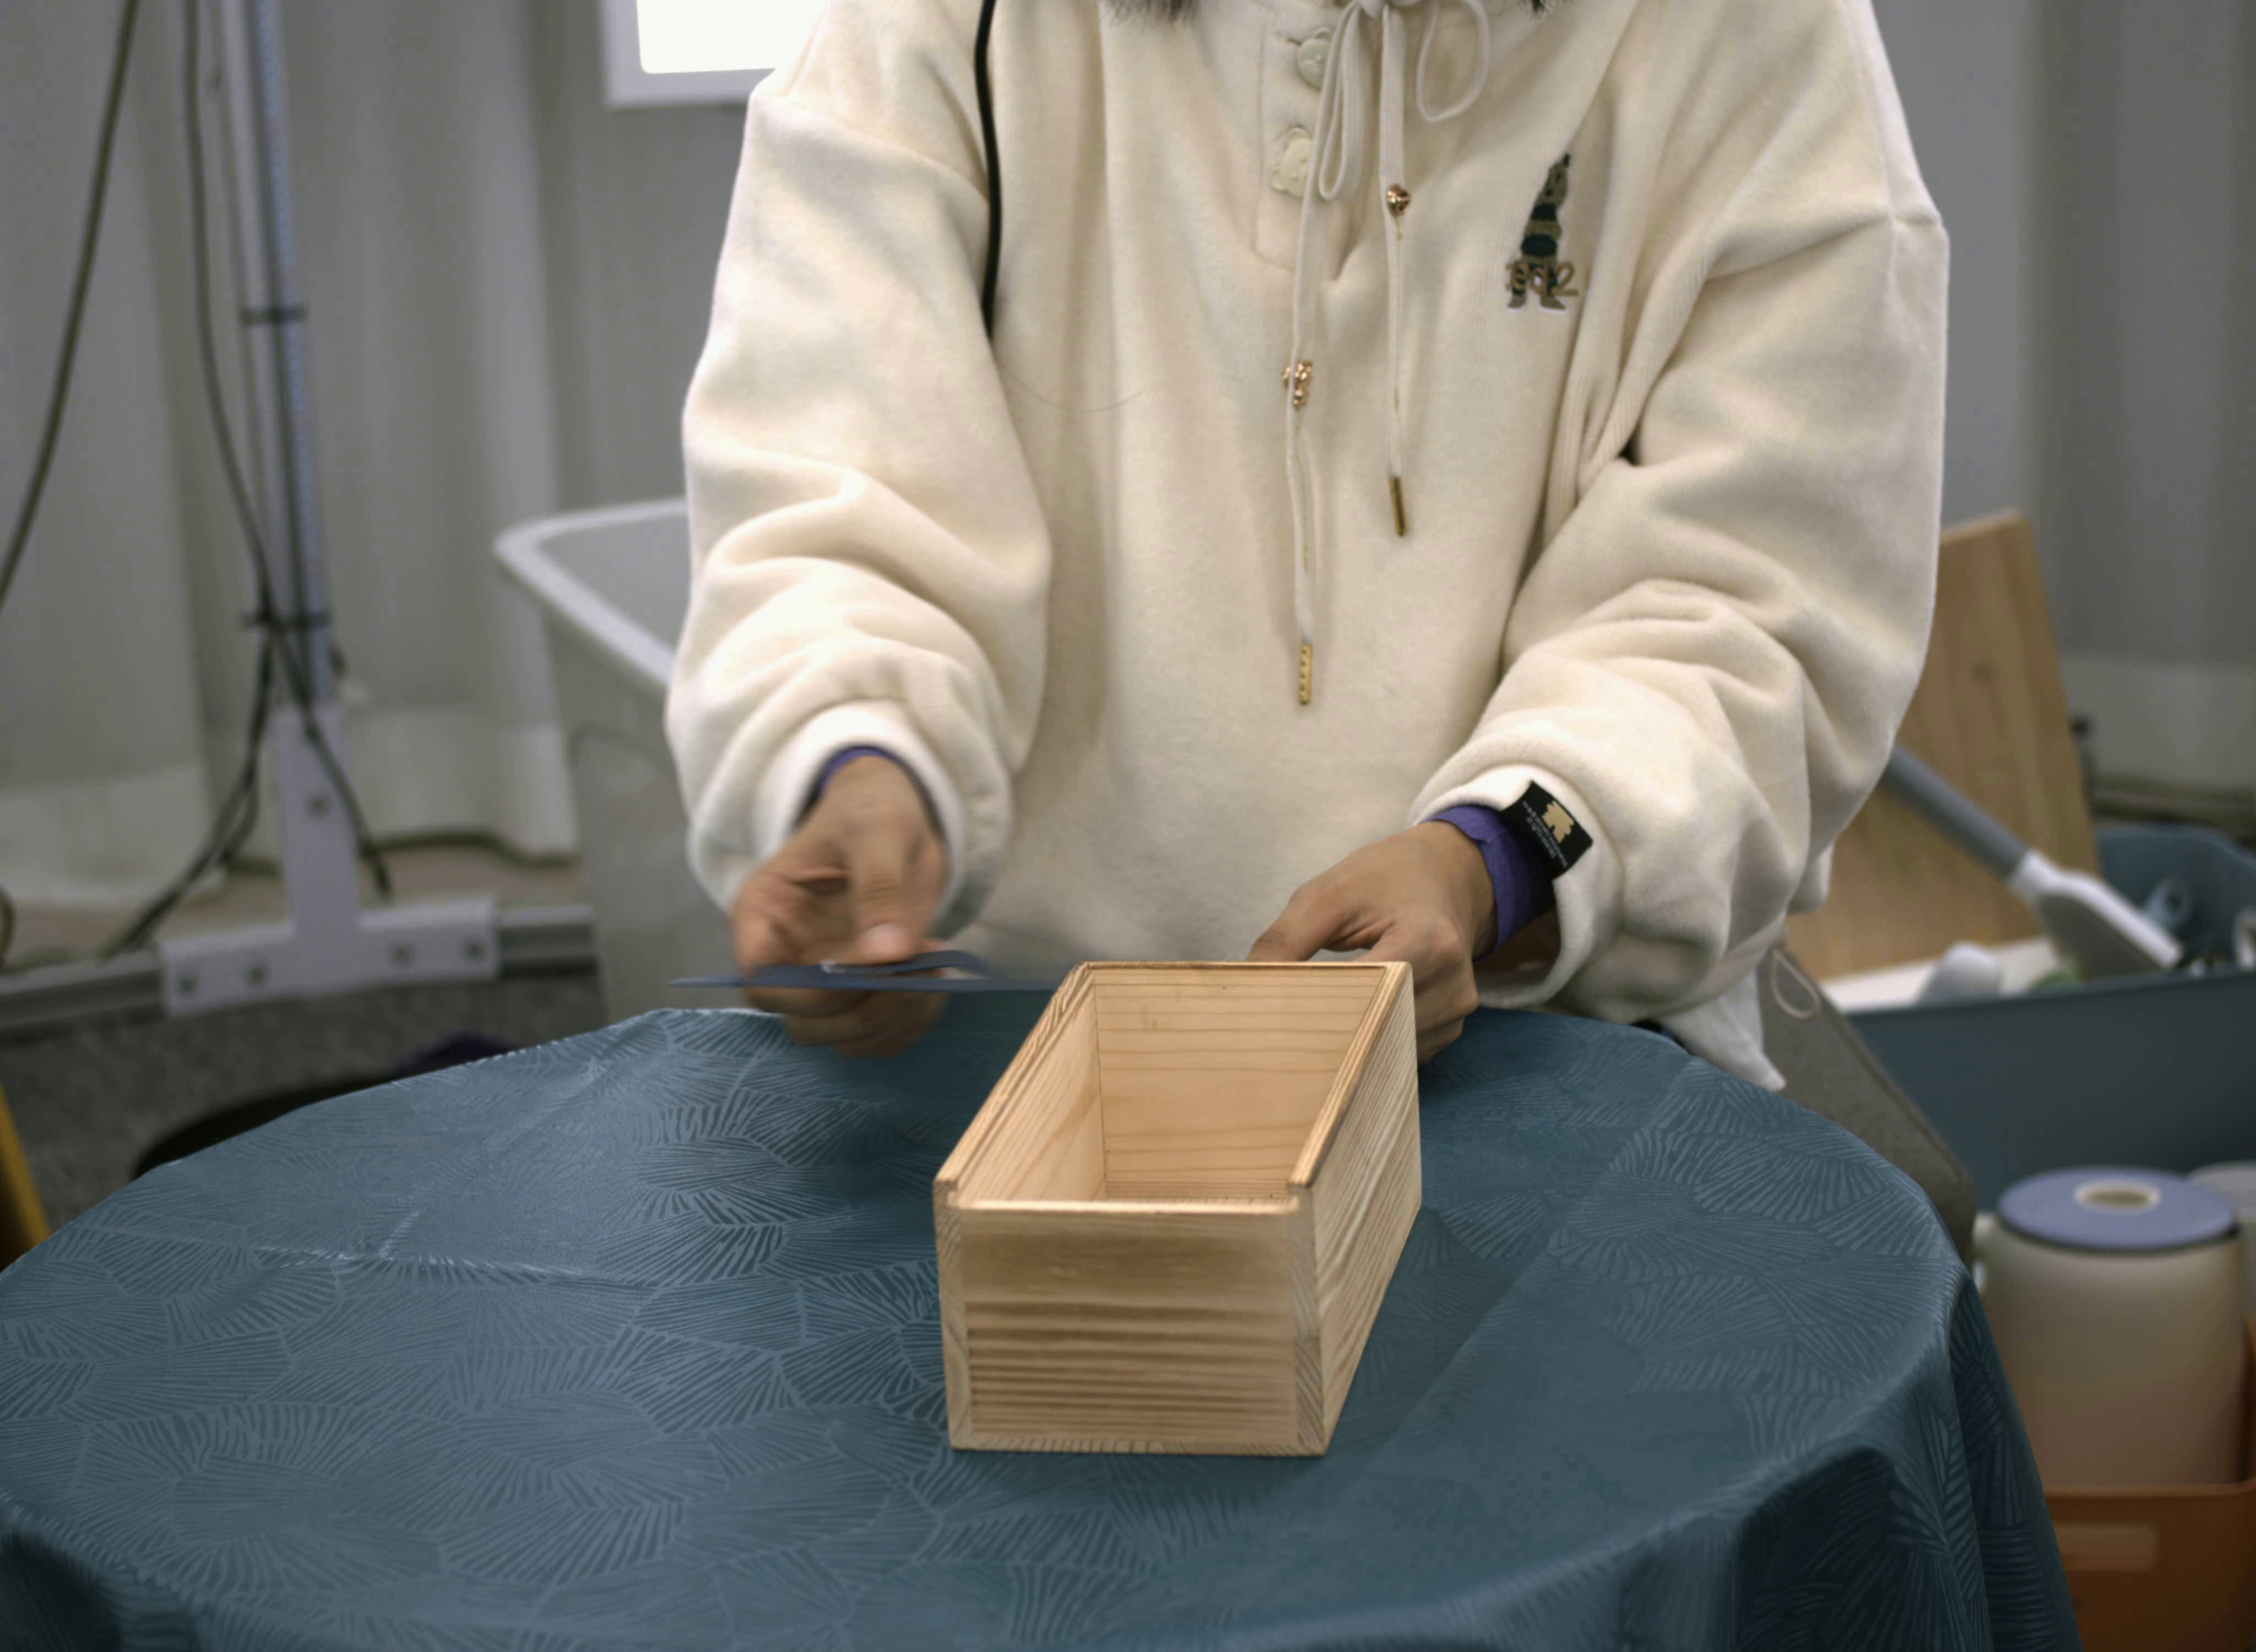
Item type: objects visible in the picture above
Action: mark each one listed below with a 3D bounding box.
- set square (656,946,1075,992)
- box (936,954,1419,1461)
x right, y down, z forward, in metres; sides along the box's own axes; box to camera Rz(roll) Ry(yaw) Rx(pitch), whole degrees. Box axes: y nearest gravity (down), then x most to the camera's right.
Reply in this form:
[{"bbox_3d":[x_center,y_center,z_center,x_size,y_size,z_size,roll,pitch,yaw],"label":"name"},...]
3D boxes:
[{"bbox_3d":[-0.084,0.042,1.724,0.131,0.006,0.061,3,11,-7],"label":"set square"},{"bbox_3d":[0.019,0.106,1.587,0.107,0.080,0.212,0,15,10],"label":"box"}]
